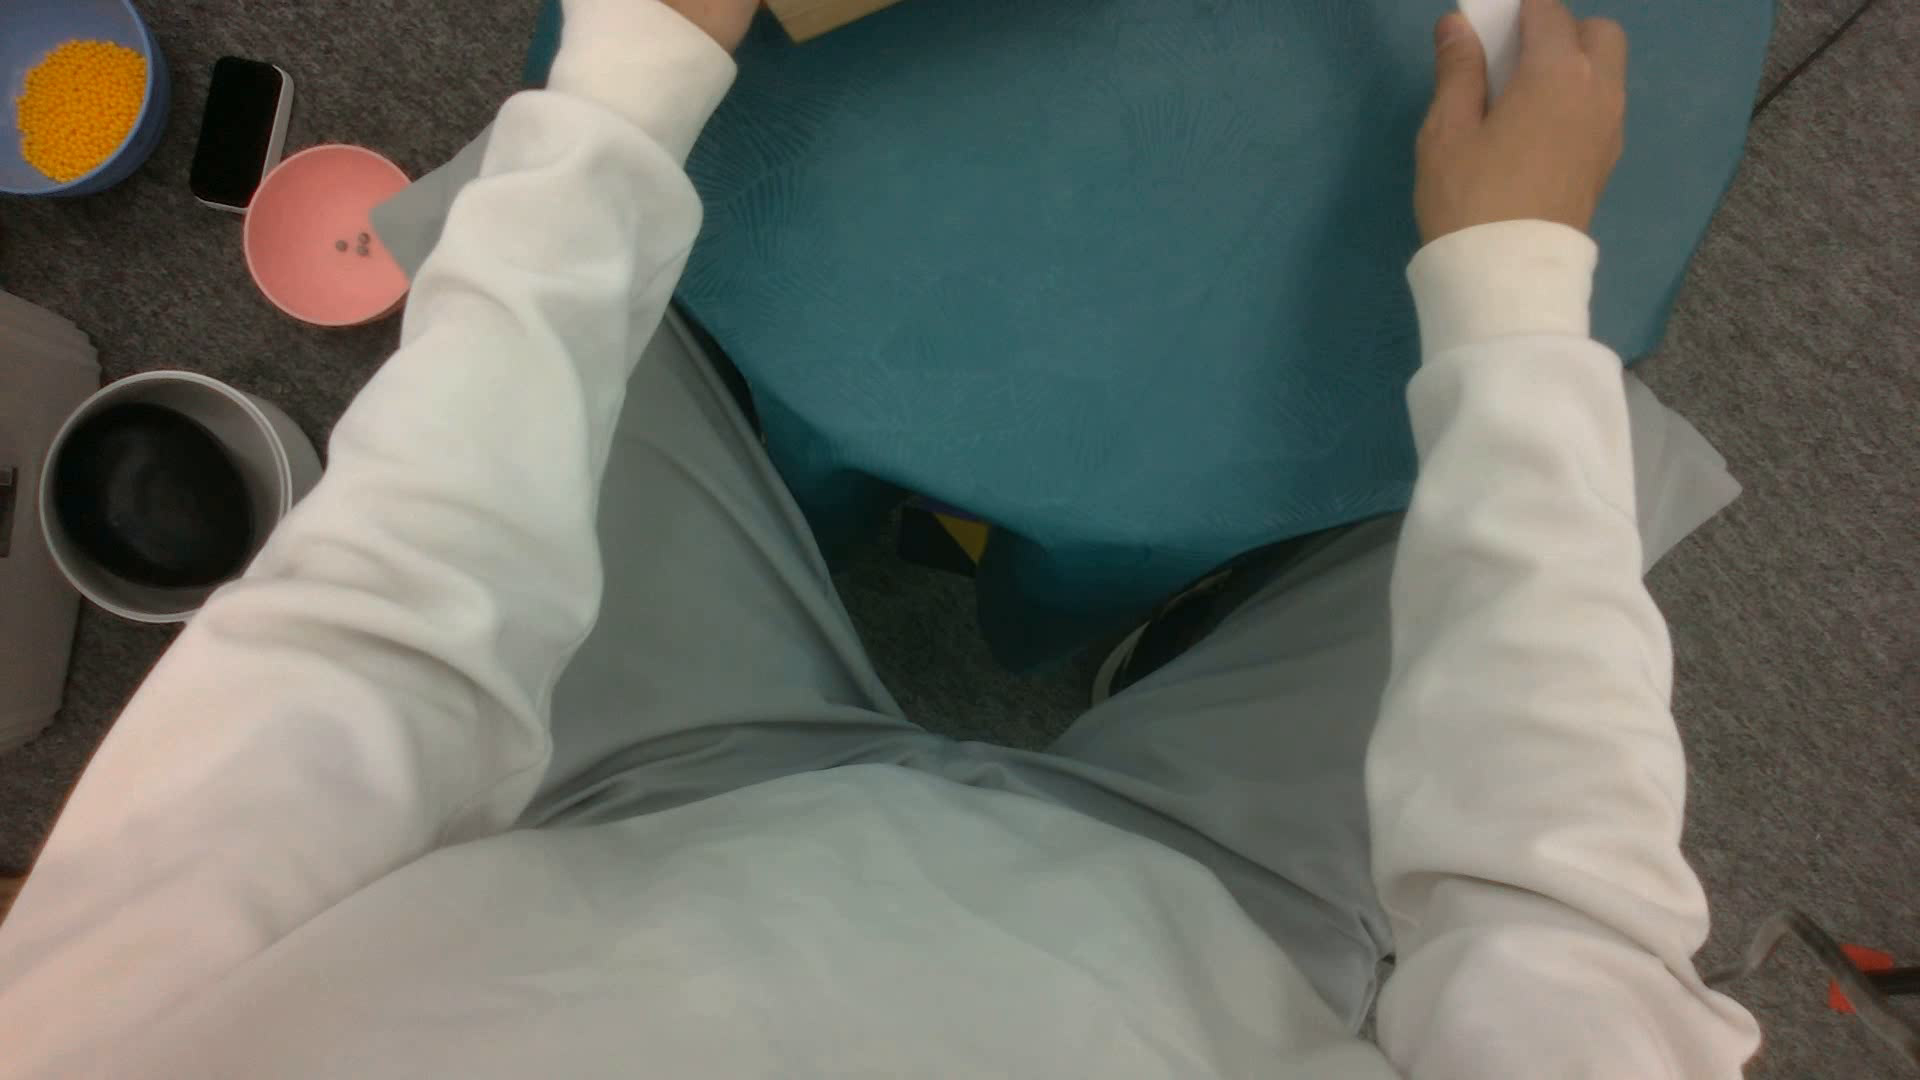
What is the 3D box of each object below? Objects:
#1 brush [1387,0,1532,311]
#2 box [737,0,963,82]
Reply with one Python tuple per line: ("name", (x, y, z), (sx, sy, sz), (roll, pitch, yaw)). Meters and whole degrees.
("brush", (0.214, -0.236, 0.643), (0.068, 0.056, 0.266), (-21, 107, -2))
("box", (-0.012, -0.307, 0.621), (0.211, 0.080, 0.107), (-24, 94, 5))
